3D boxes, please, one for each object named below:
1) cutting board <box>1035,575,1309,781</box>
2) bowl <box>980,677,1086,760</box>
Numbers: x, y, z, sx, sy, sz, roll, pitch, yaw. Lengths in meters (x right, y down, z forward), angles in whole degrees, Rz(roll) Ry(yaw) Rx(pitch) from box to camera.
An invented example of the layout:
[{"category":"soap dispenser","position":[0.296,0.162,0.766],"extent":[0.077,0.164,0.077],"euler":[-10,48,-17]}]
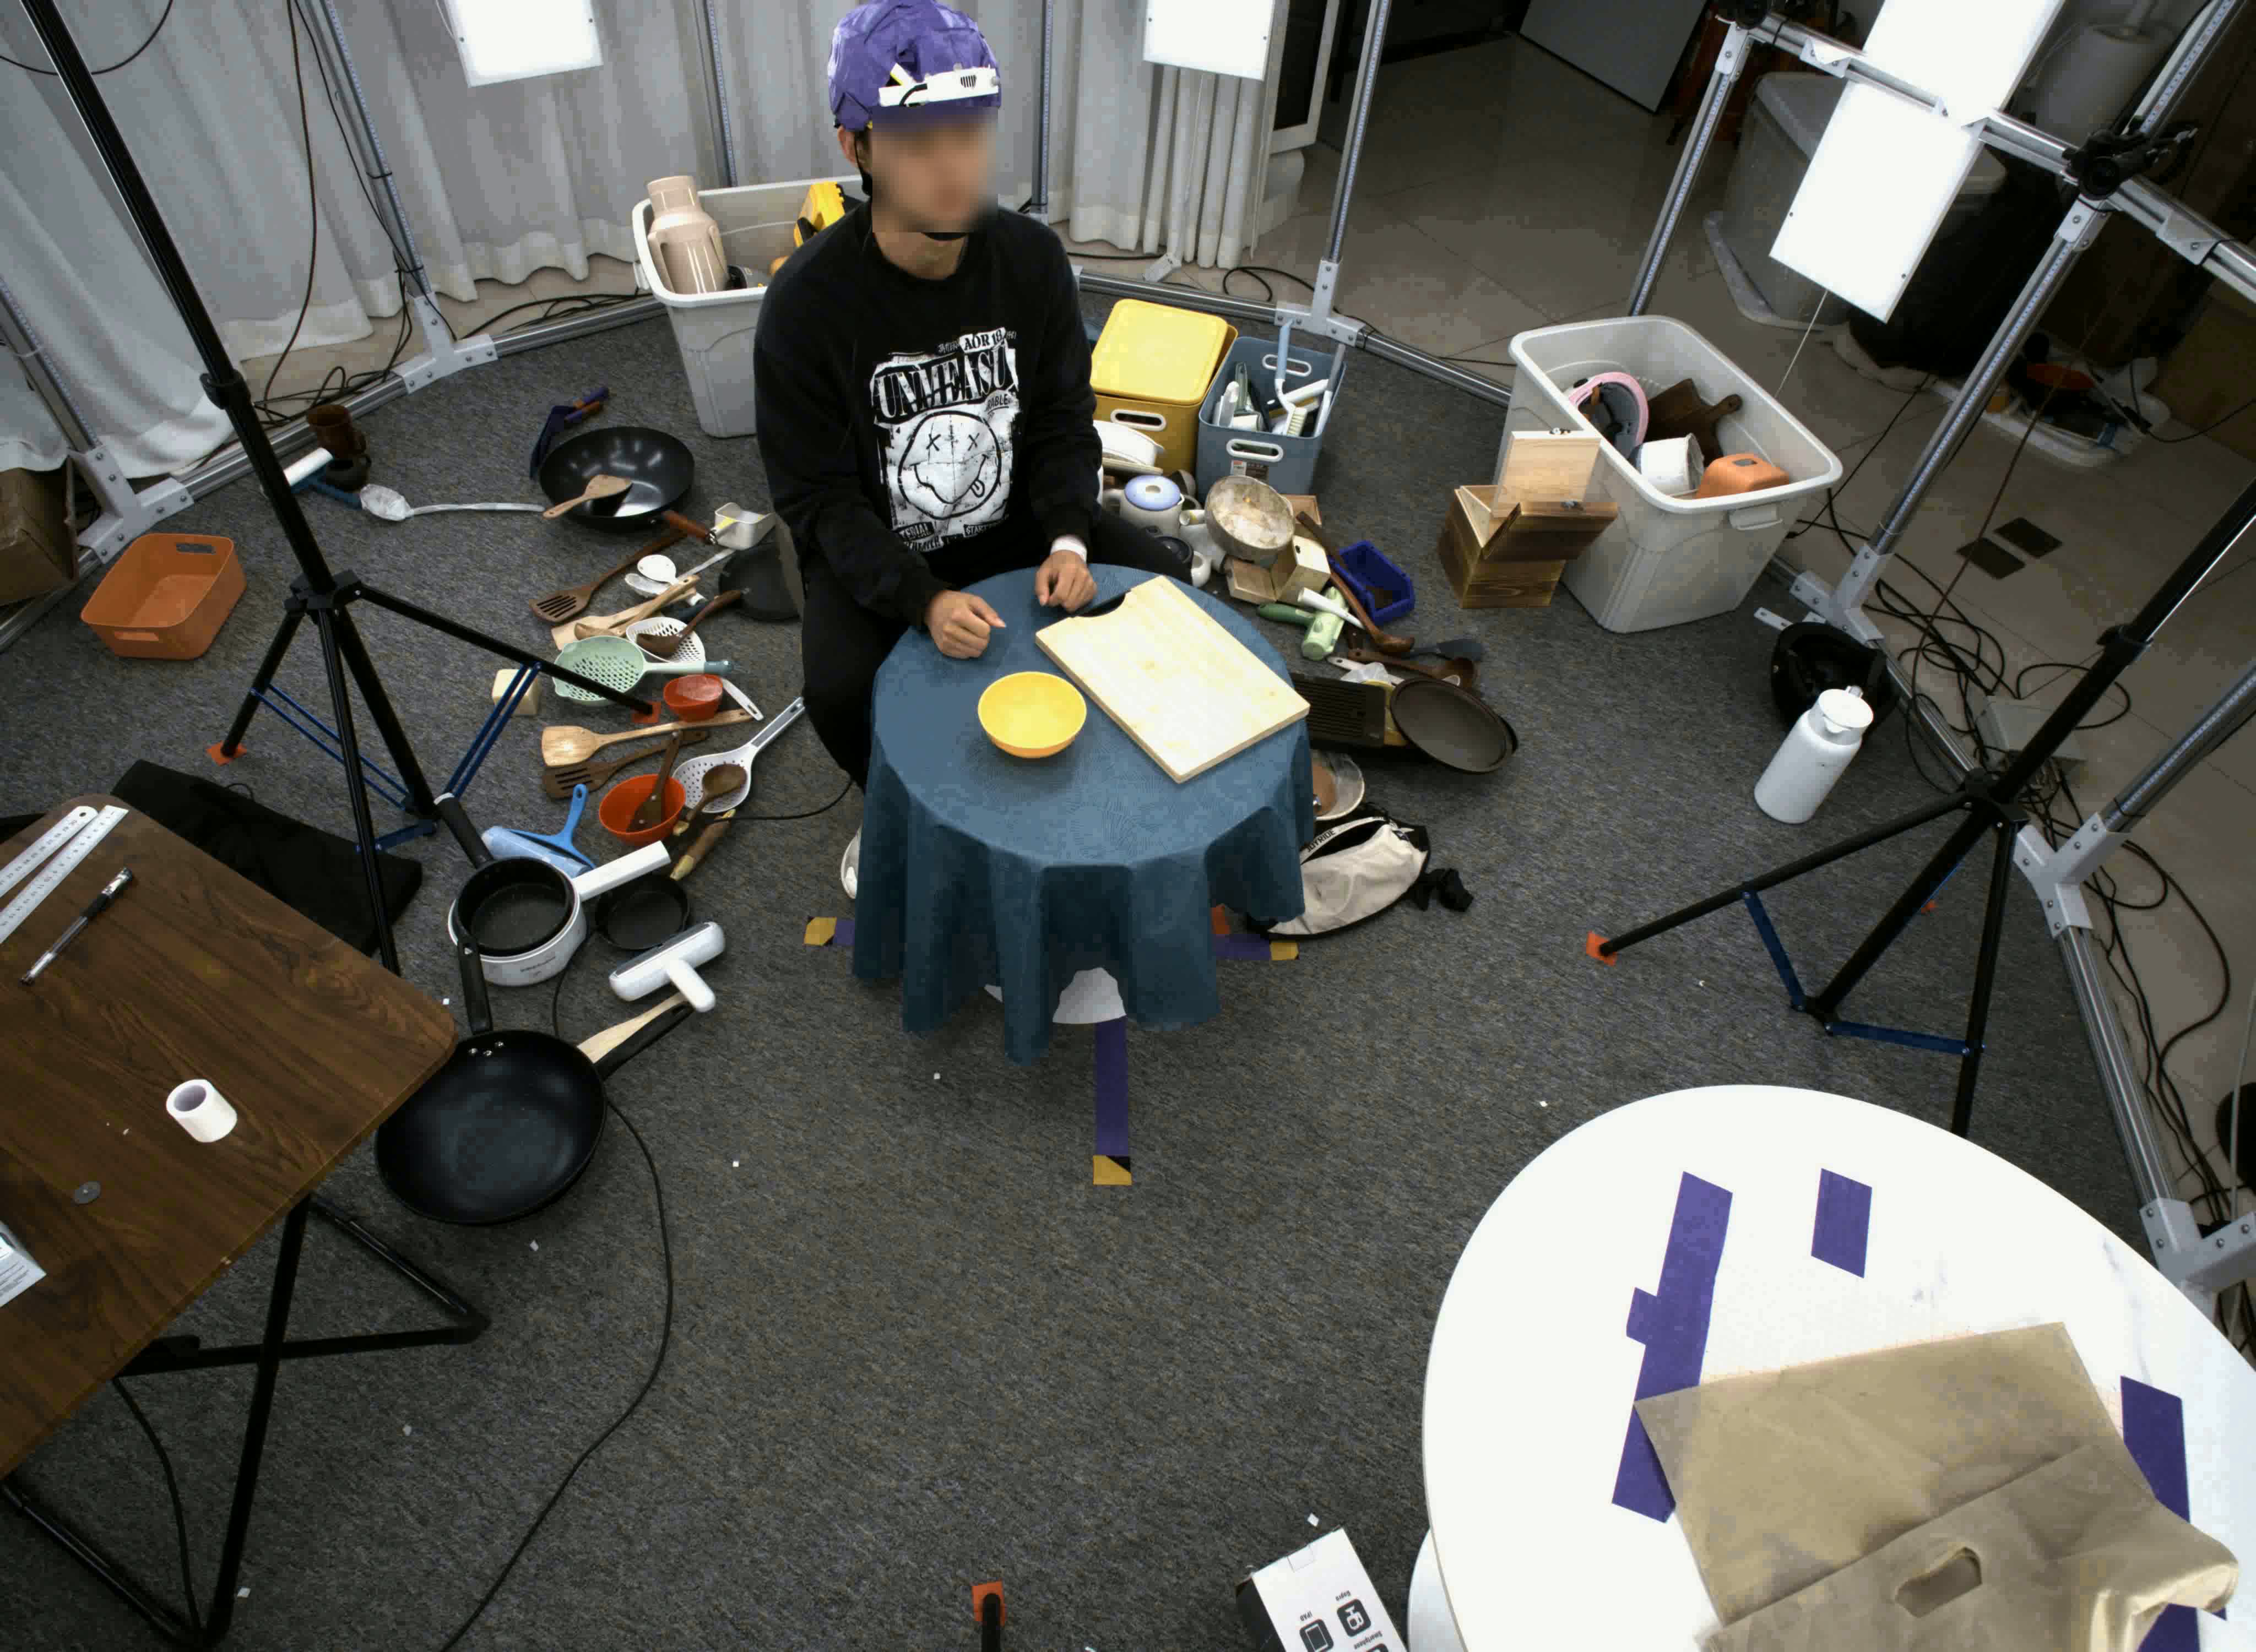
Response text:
[{"category":"cutting board","position":[0.060,-0.224,1.873],"extent":[0.252,0.023,0.355],"euler":[-29,56,-26]},{"category":"bowl","position":[-0.131,-0.136,1.758],"extent":[0.145,0.058,0.149],"euler":[3,46,-3]}]
